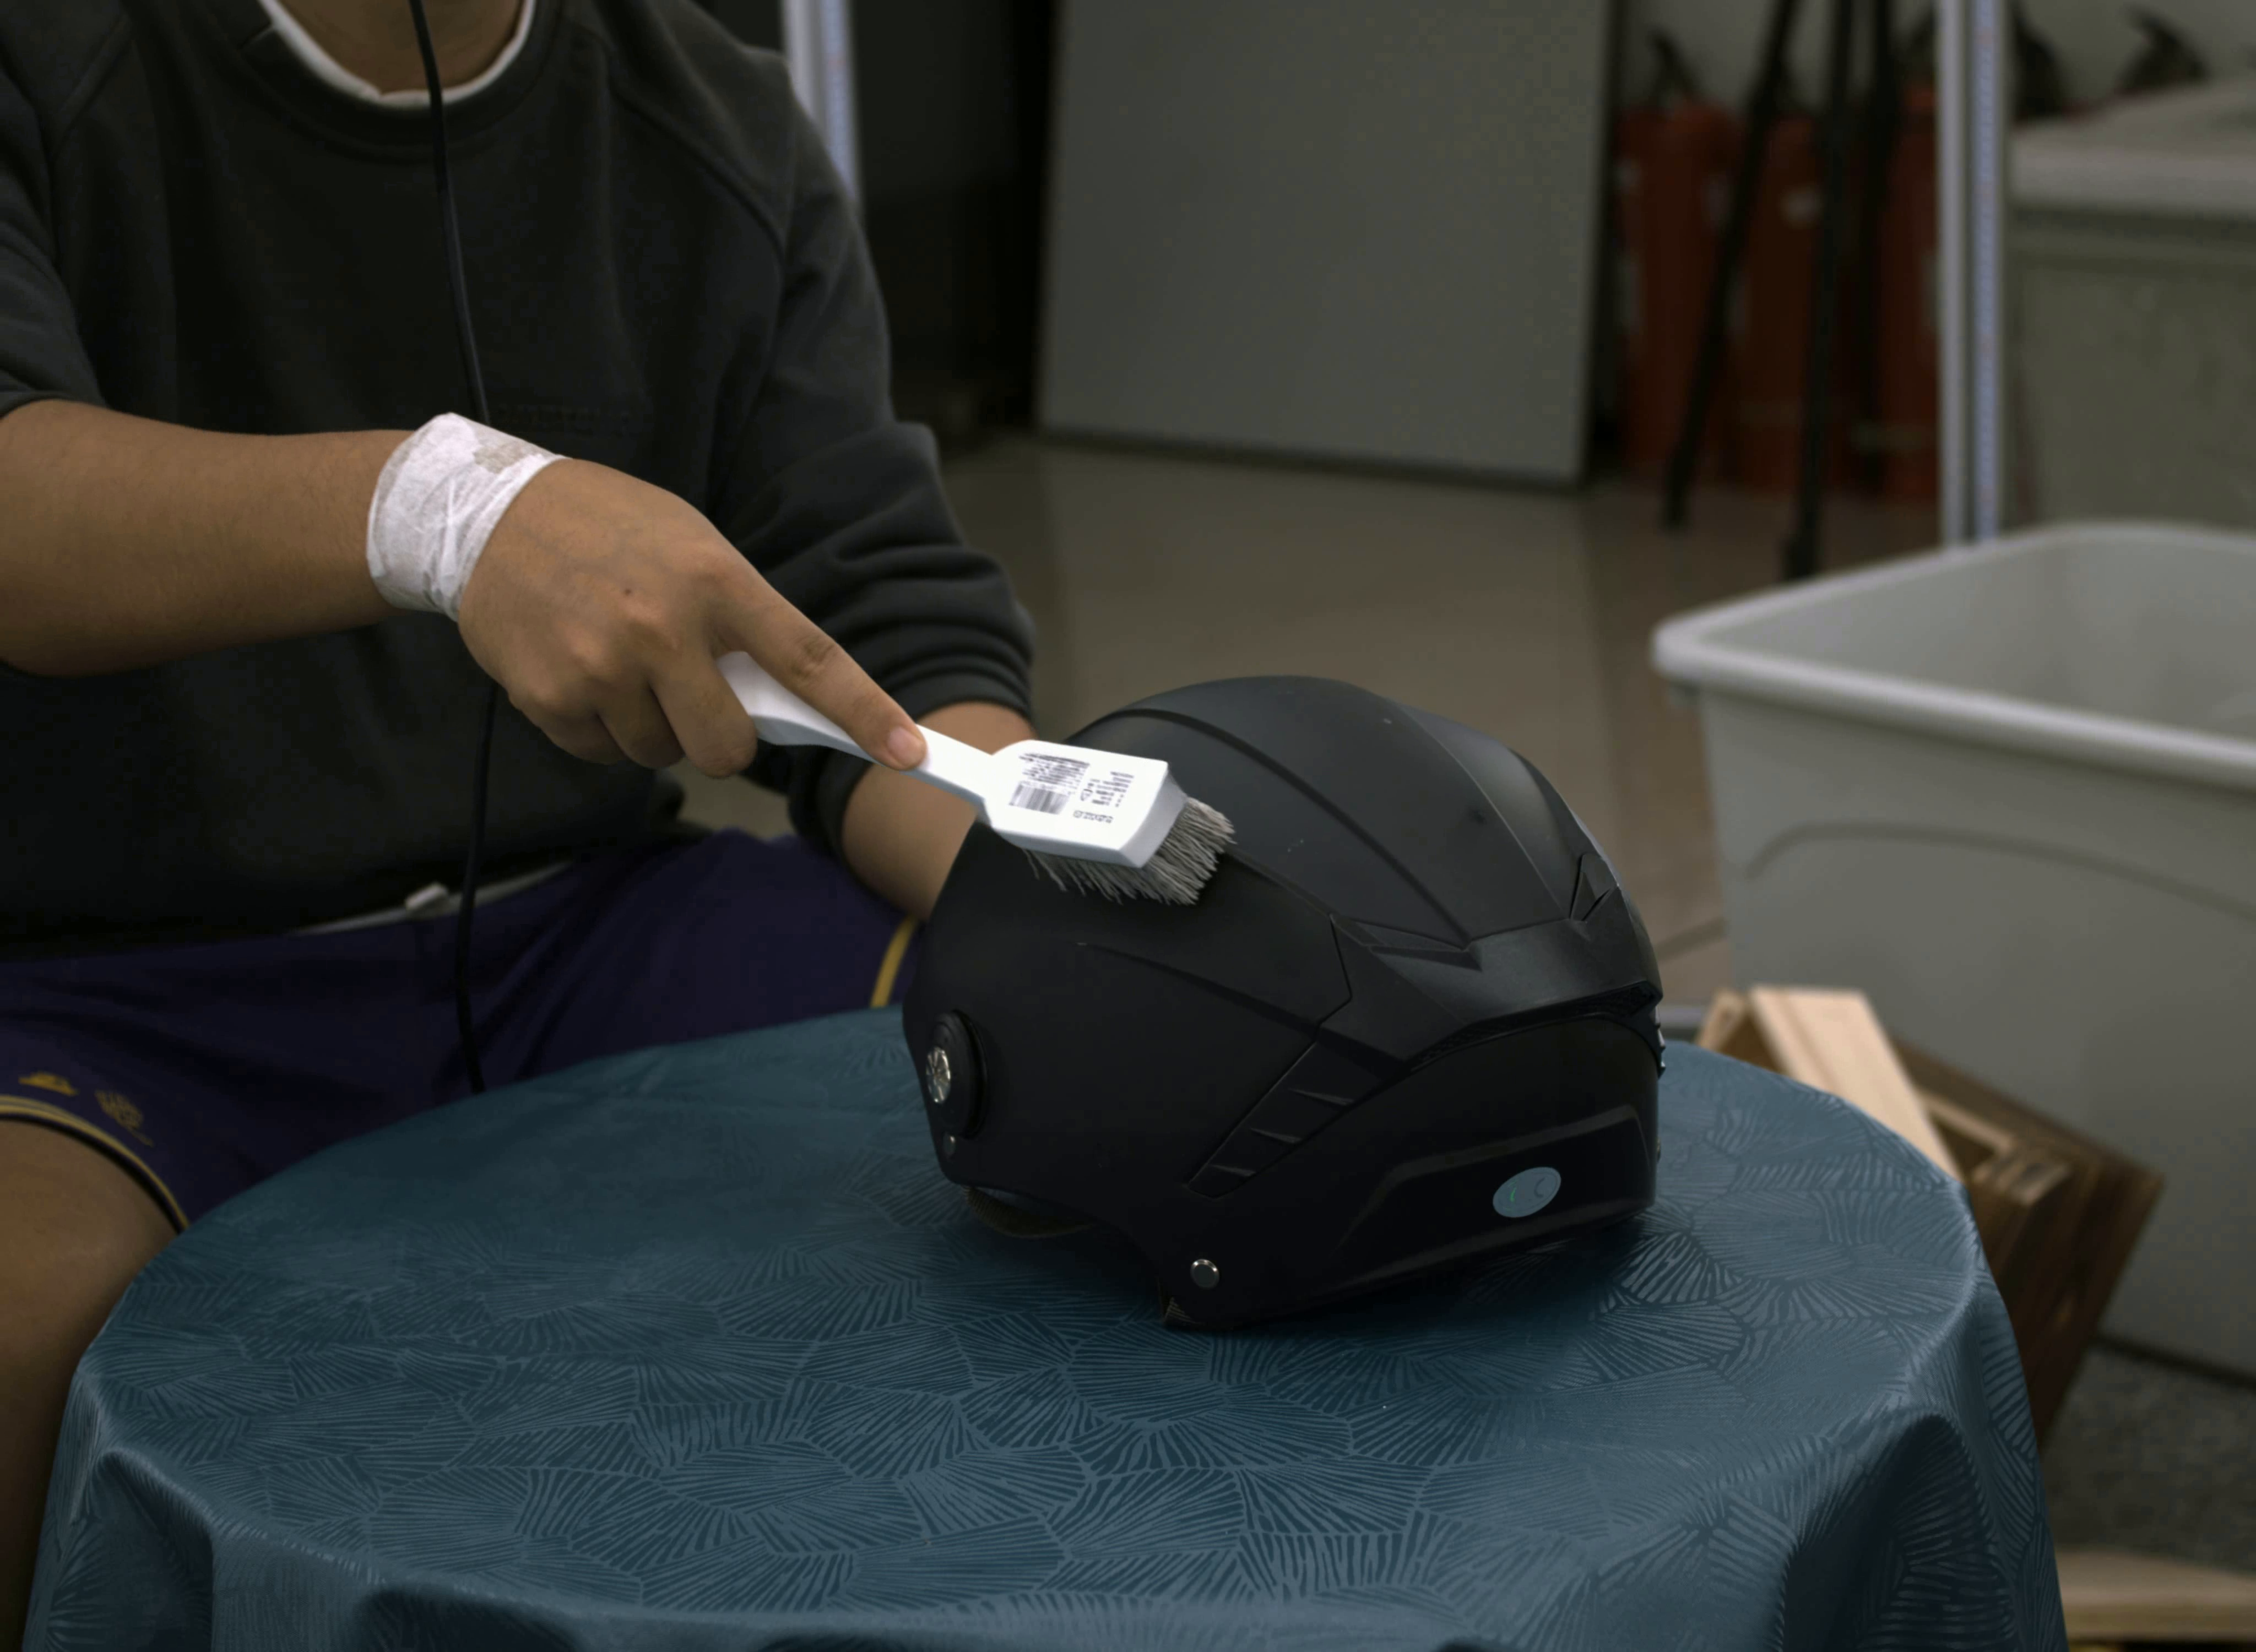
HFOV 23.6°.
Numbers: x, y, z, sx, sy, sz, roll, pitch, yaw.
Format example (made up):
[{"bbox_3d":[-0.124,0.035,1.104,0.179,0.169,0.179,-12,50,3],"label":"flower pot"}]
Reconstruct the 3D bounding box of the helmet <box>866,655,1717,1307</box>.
[{"bbox_3d":[0.055,0.035,1.705,0.241,0.174,0.280,-10,31,-29],"label":"helmet"}]

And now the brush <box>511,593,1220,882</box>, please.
[{"bbox_3d":[-0.082,-0.027,1.660,0.244,0.034,0.050,15,-23,28],"label":"brush"}]
